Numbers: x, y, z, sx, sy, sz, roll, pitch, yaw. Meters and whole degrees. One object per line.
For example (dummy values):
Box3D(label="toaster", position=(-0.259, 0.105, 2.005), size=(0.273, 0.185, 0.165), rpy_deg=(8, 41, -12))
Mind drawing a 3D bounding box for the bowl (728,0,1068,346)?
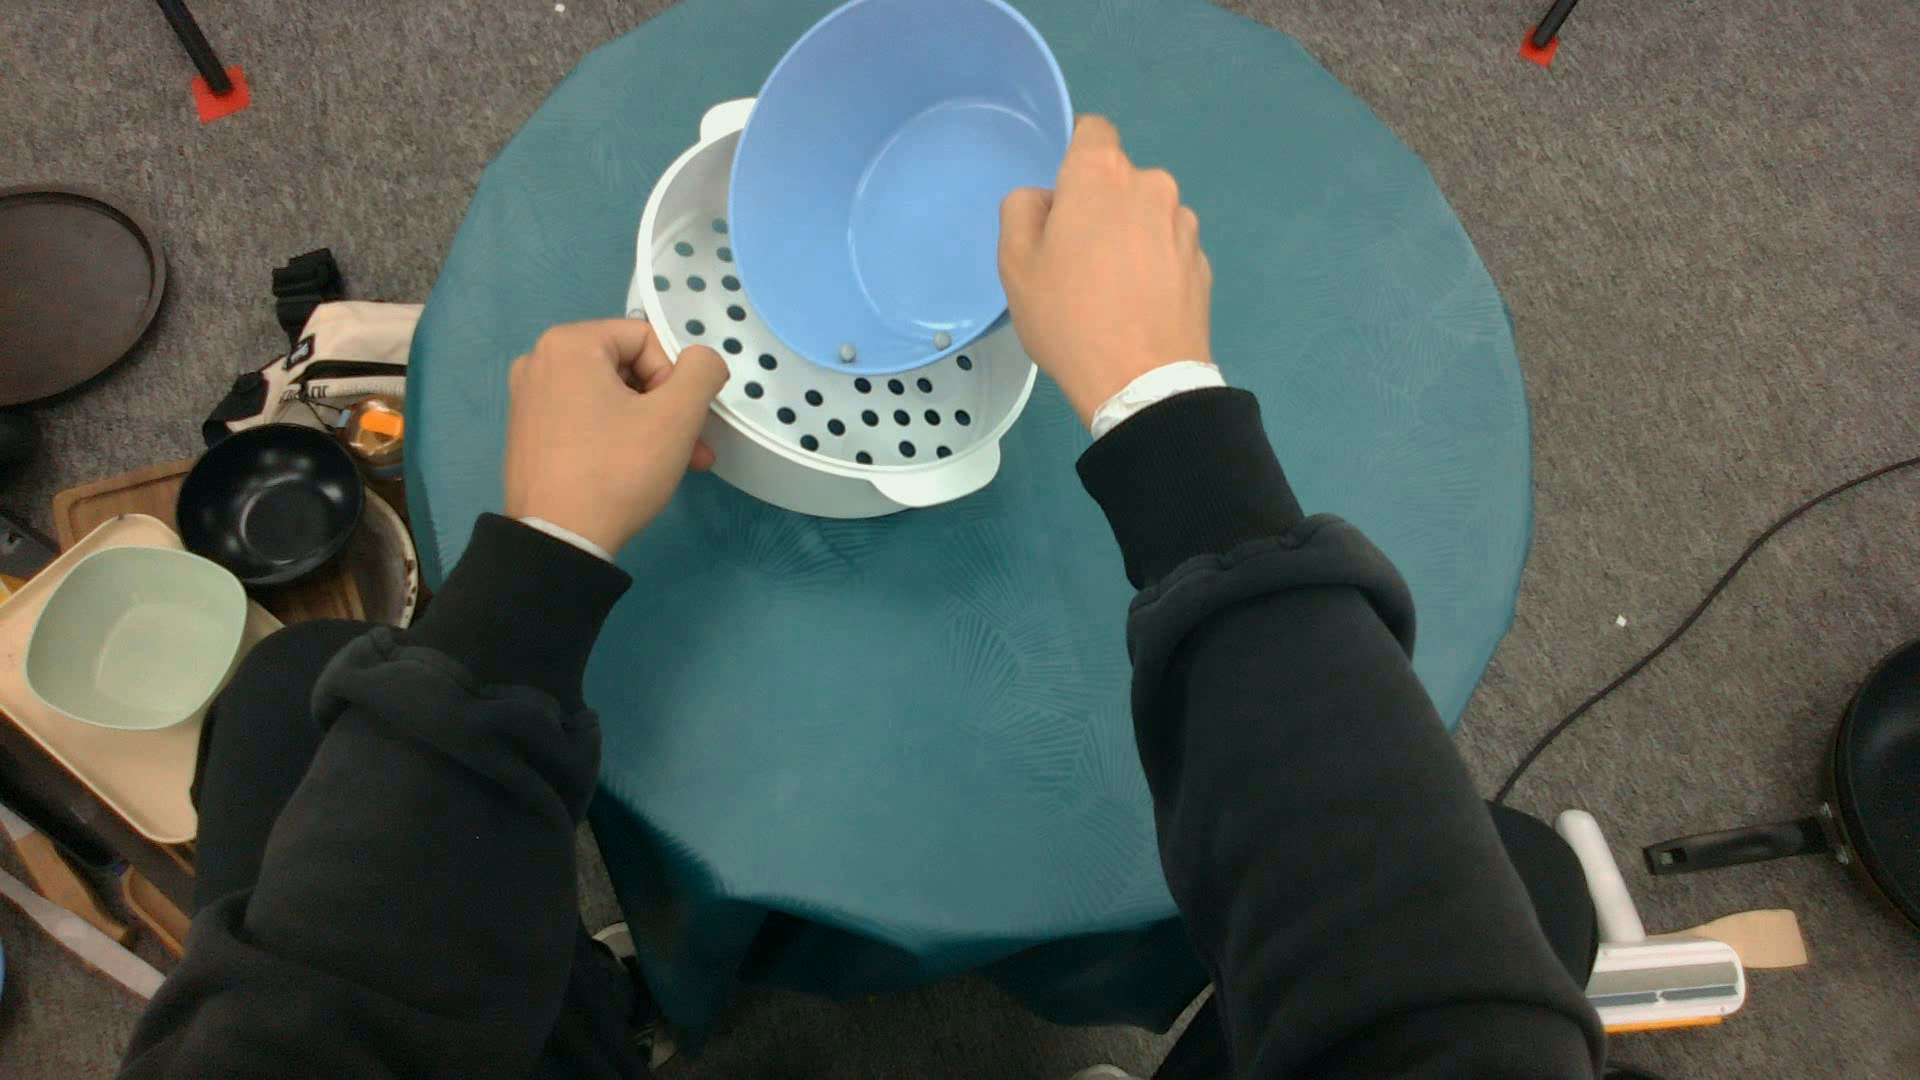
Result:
Box3D(label="bowl", position=(-0.017, -0.170, 0.631), size=(0.175, 0.070, 0.176), rpy_deg=(-3, 84, 30))

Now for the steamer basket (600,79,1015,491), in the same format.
Box3D(label="steamer basket", position=(-0.076, -0.120, 0.681), size=(0.202, 0.069, 0.231), rpy_deg=(-20, 73, -32))
